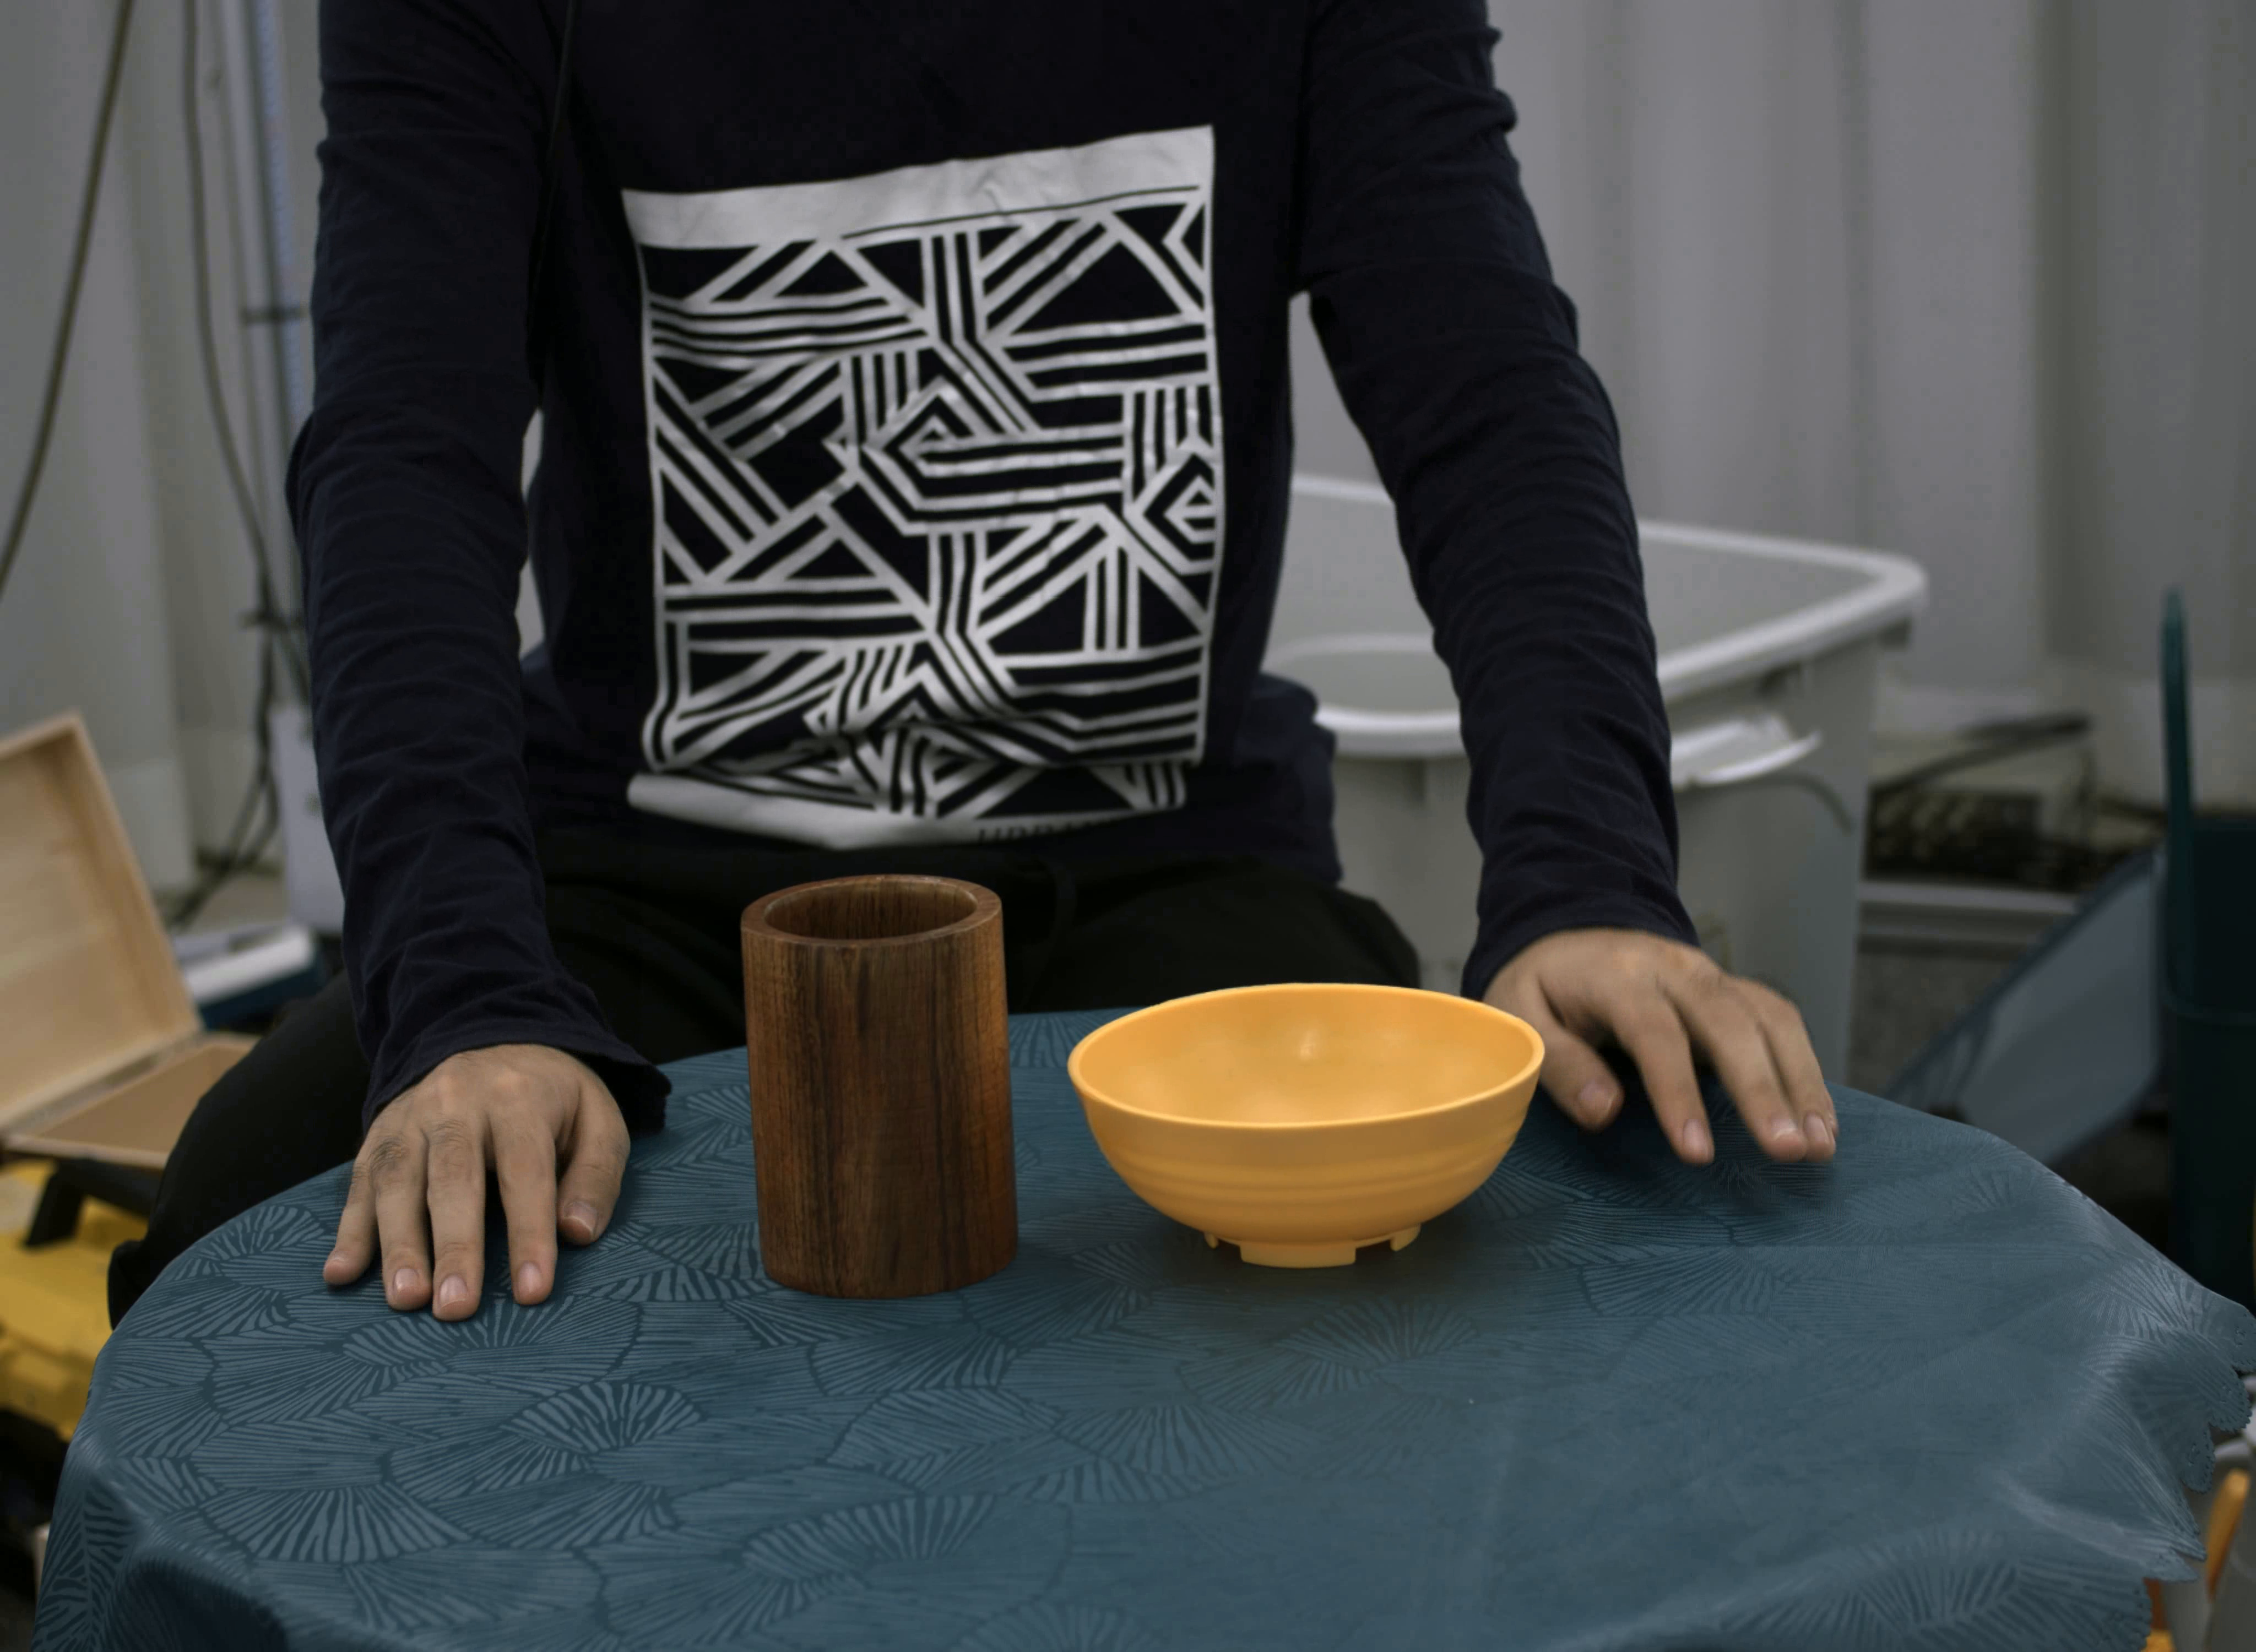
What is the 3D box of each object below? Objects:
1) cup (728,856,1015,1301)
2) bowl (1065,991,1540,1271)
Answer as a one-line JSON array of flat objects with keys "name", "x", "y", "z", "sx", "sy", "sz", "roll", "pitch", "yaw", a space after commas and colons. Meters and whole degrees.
[{"name": "cup", "x": -0.077, "y": 0.075, "z": 1.654, "sx": 0.087, "sy": 0.118, "sz": 0.088, "roll": -1, "pitch": 13, "yaw": 0}, {"name": "bowl", "x": 0.054, "y": 0.097, "z": 1.662, "sx": 0.145, "sy": 0.060, "sz": 0.146, "roll": -3, "pitch": 13, "yaw": 0}]
